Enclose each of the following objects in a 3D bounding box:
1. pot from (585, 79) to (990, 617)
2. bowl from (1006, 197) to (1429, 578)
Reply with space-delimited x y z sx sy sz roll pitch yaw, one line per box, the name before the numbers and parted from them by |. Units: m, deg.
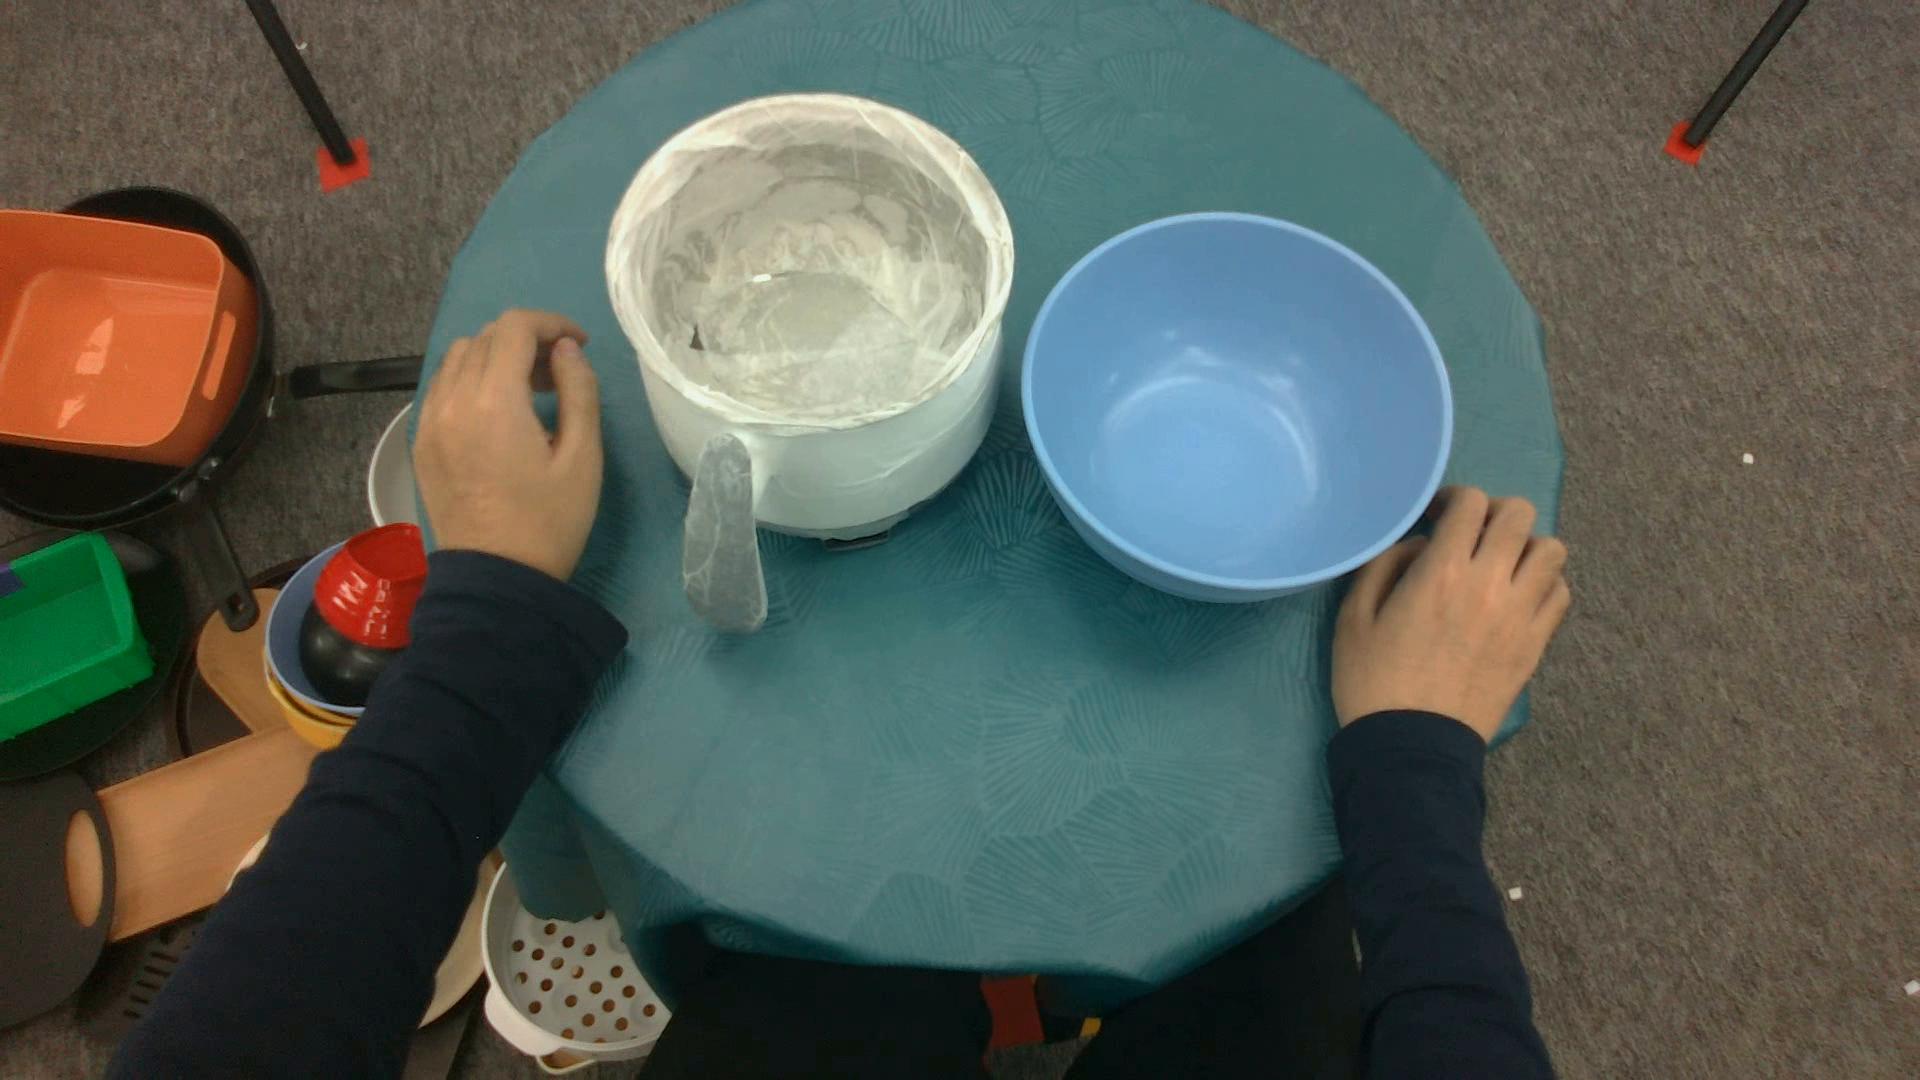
pot | -0.083 -0.084 0.648 0.178 0.136 0.234 14 65 6
bowl | 0.115 -0.060 0.669 0.196 0.095 0.197 3 62 -5
